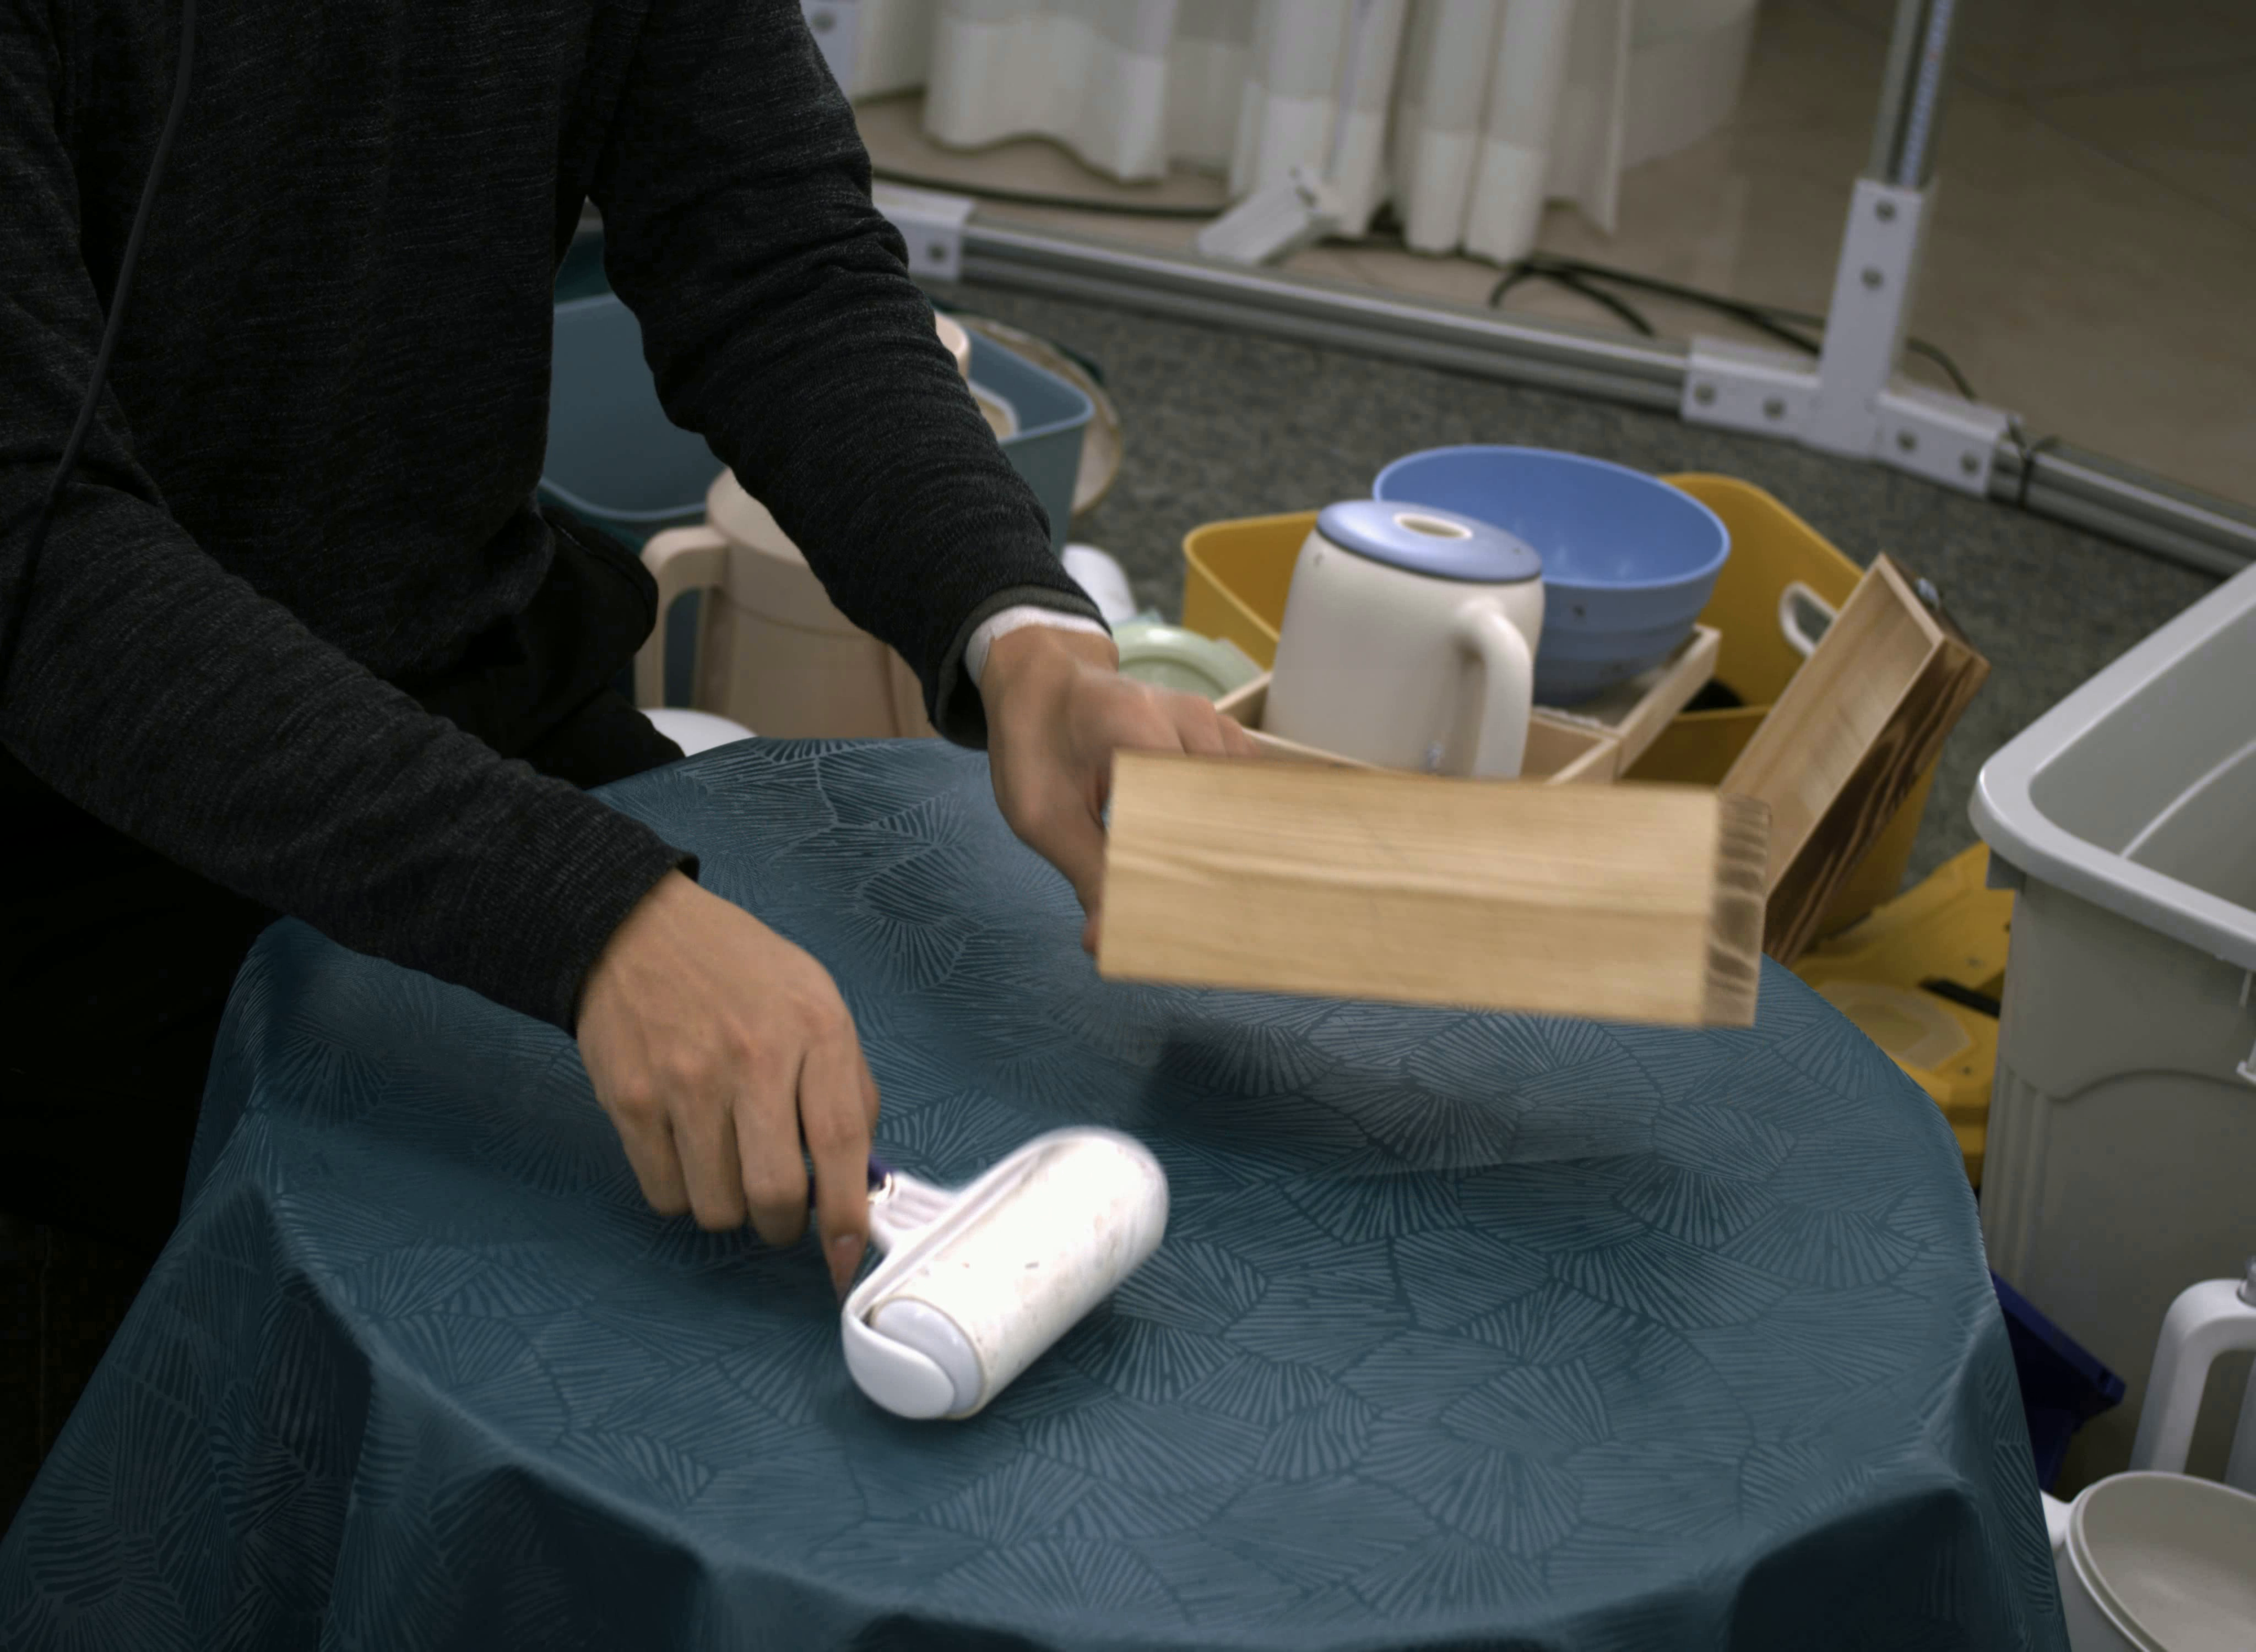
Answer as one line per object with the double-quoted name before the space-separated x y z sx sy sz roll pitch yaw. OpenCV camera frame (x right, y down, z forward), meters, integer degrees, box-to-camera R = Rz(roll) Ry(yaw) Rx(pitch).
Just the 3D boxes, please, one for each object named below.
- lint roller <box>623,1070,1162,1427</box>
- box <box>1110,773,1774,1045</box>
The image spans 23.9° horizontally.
"lint roller" -0.087 0.114 1.715 0.182 0.050 0.132 33 42 22
"box" 0.110 0.027 1.843 0.211 0.080 0.107 4 1 15
